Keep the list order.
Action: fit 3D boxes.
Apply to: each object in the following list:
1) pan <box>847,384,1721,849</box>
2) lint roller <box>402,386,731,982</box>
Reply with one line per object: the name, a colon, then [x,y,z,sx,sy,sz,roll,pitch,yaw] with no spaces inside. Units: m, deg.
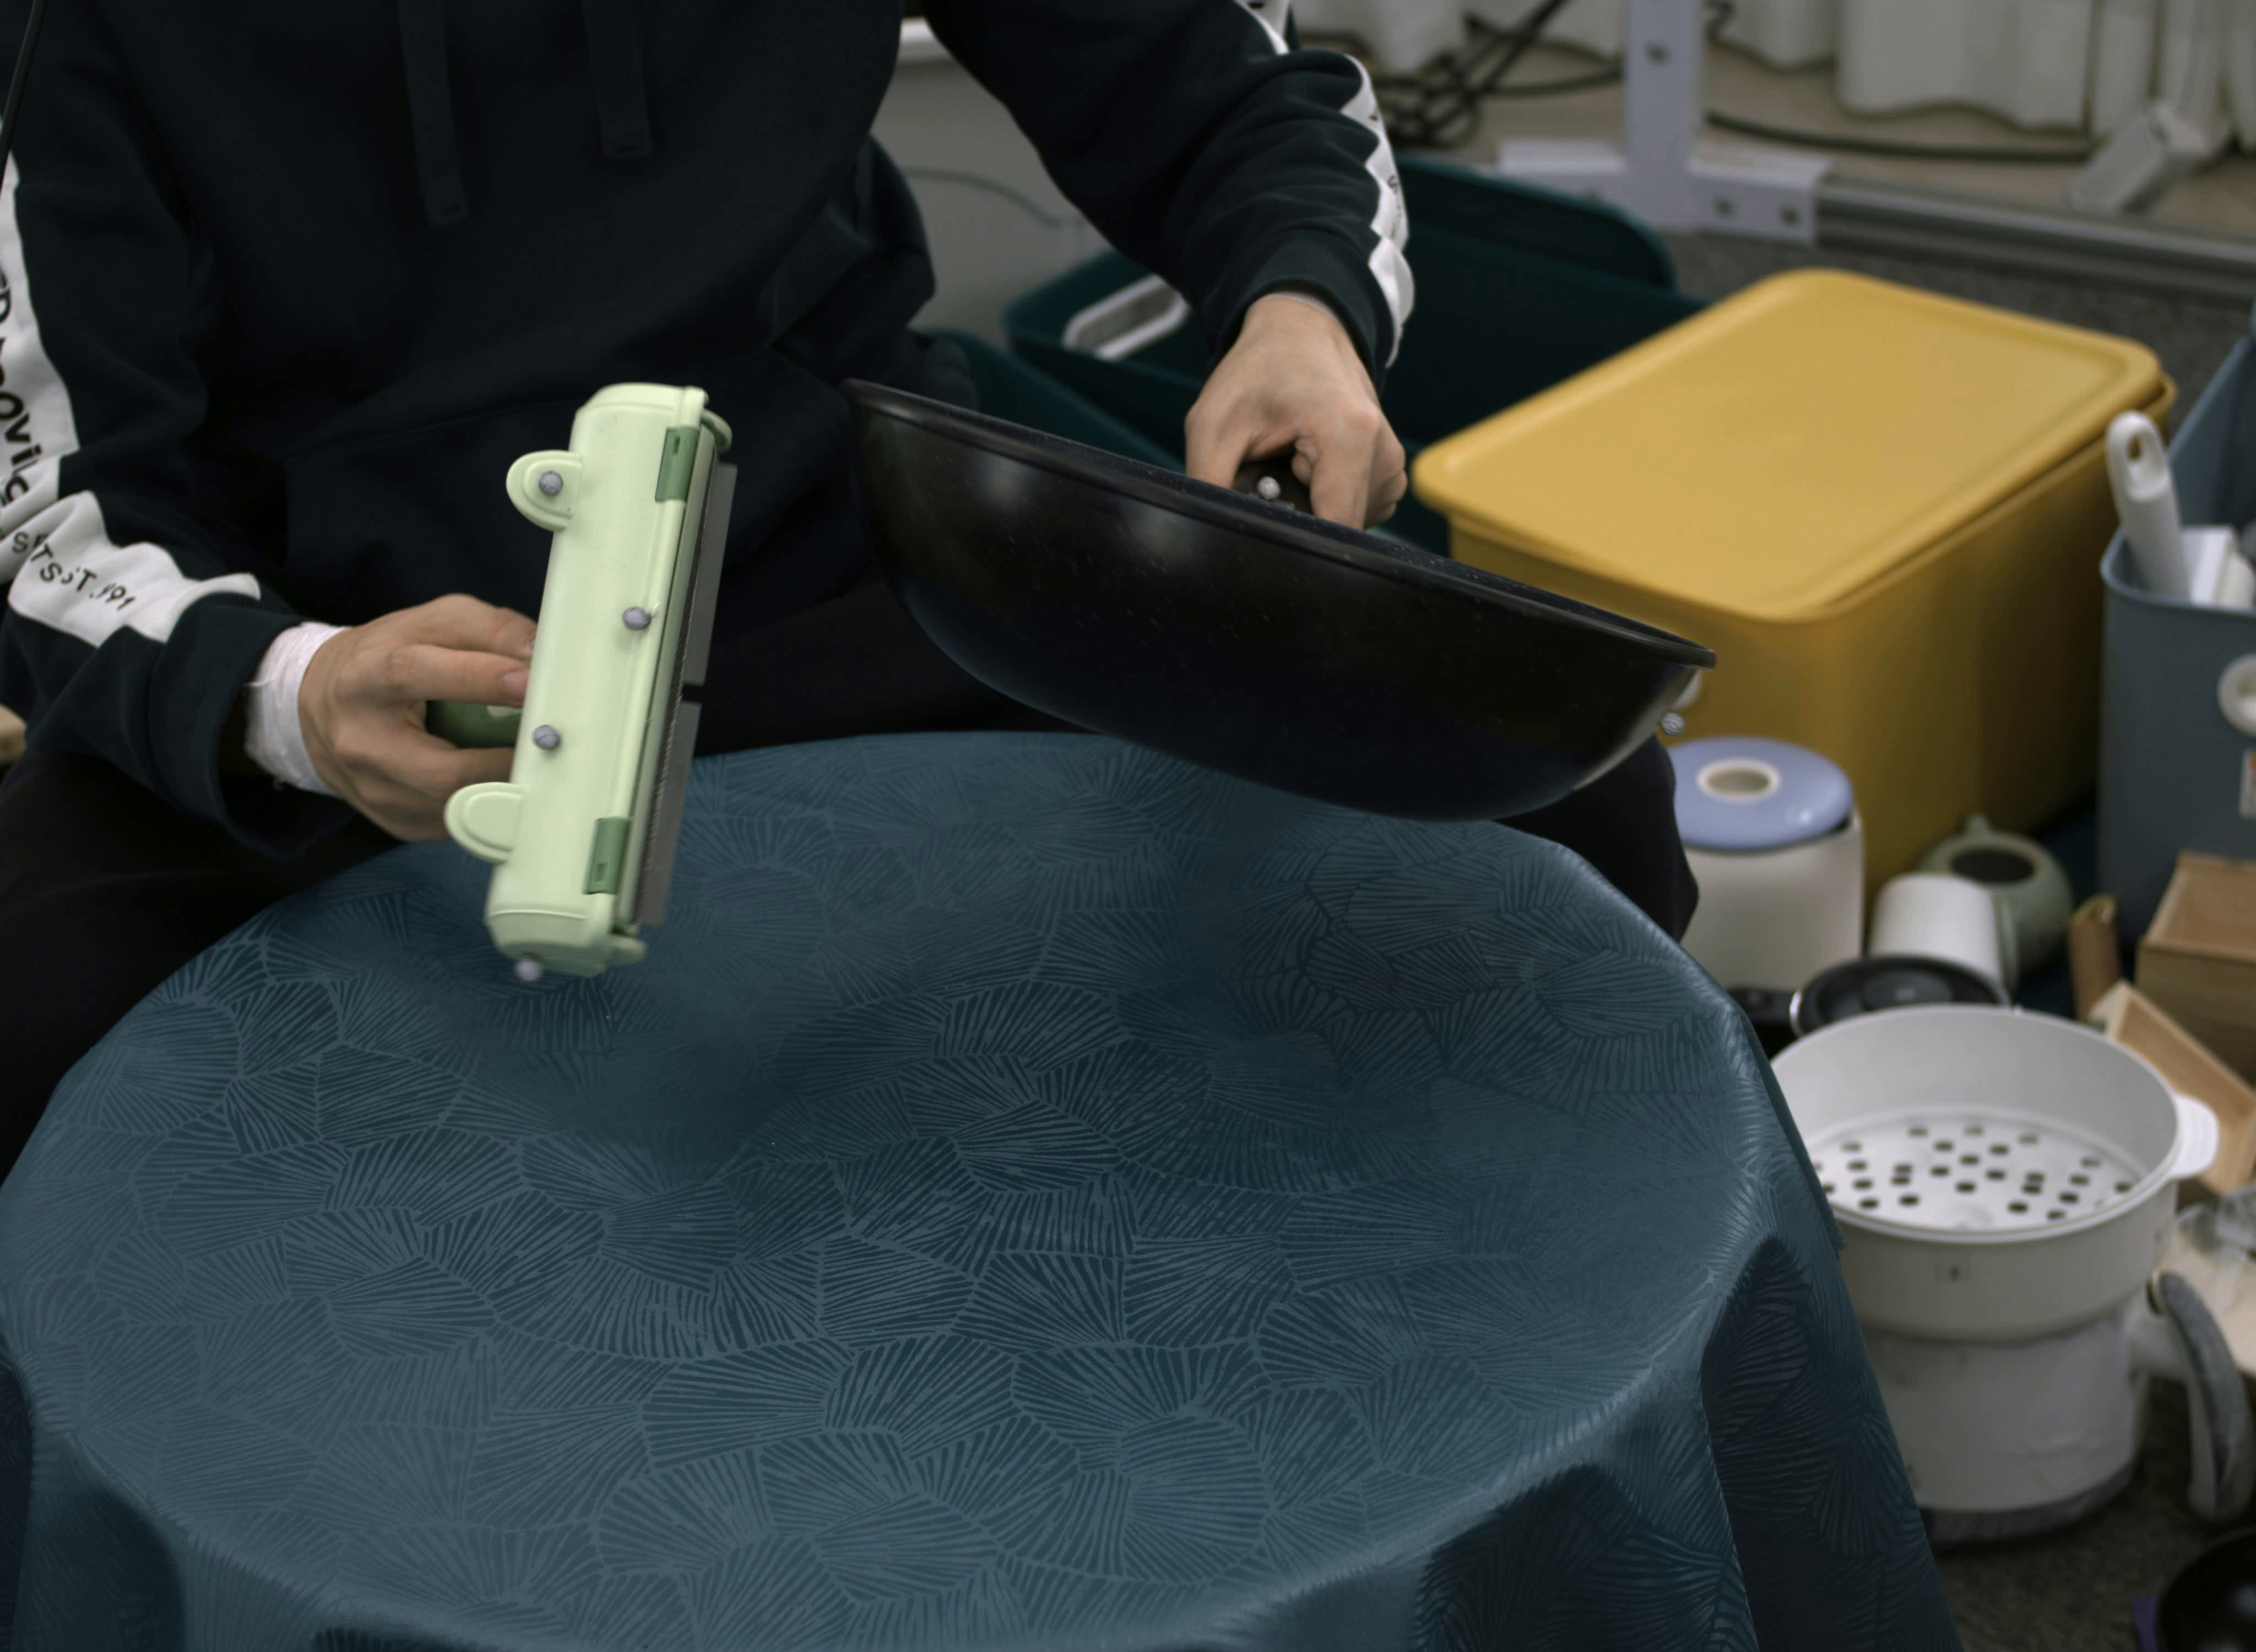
pan: [0.044,-0.078,1.973,0.309,0.112,0.478,19,5,-1]
lint roller: [-0.215,-0.045,1.912,0.082,0.201,0.181,23,-21,-38]
